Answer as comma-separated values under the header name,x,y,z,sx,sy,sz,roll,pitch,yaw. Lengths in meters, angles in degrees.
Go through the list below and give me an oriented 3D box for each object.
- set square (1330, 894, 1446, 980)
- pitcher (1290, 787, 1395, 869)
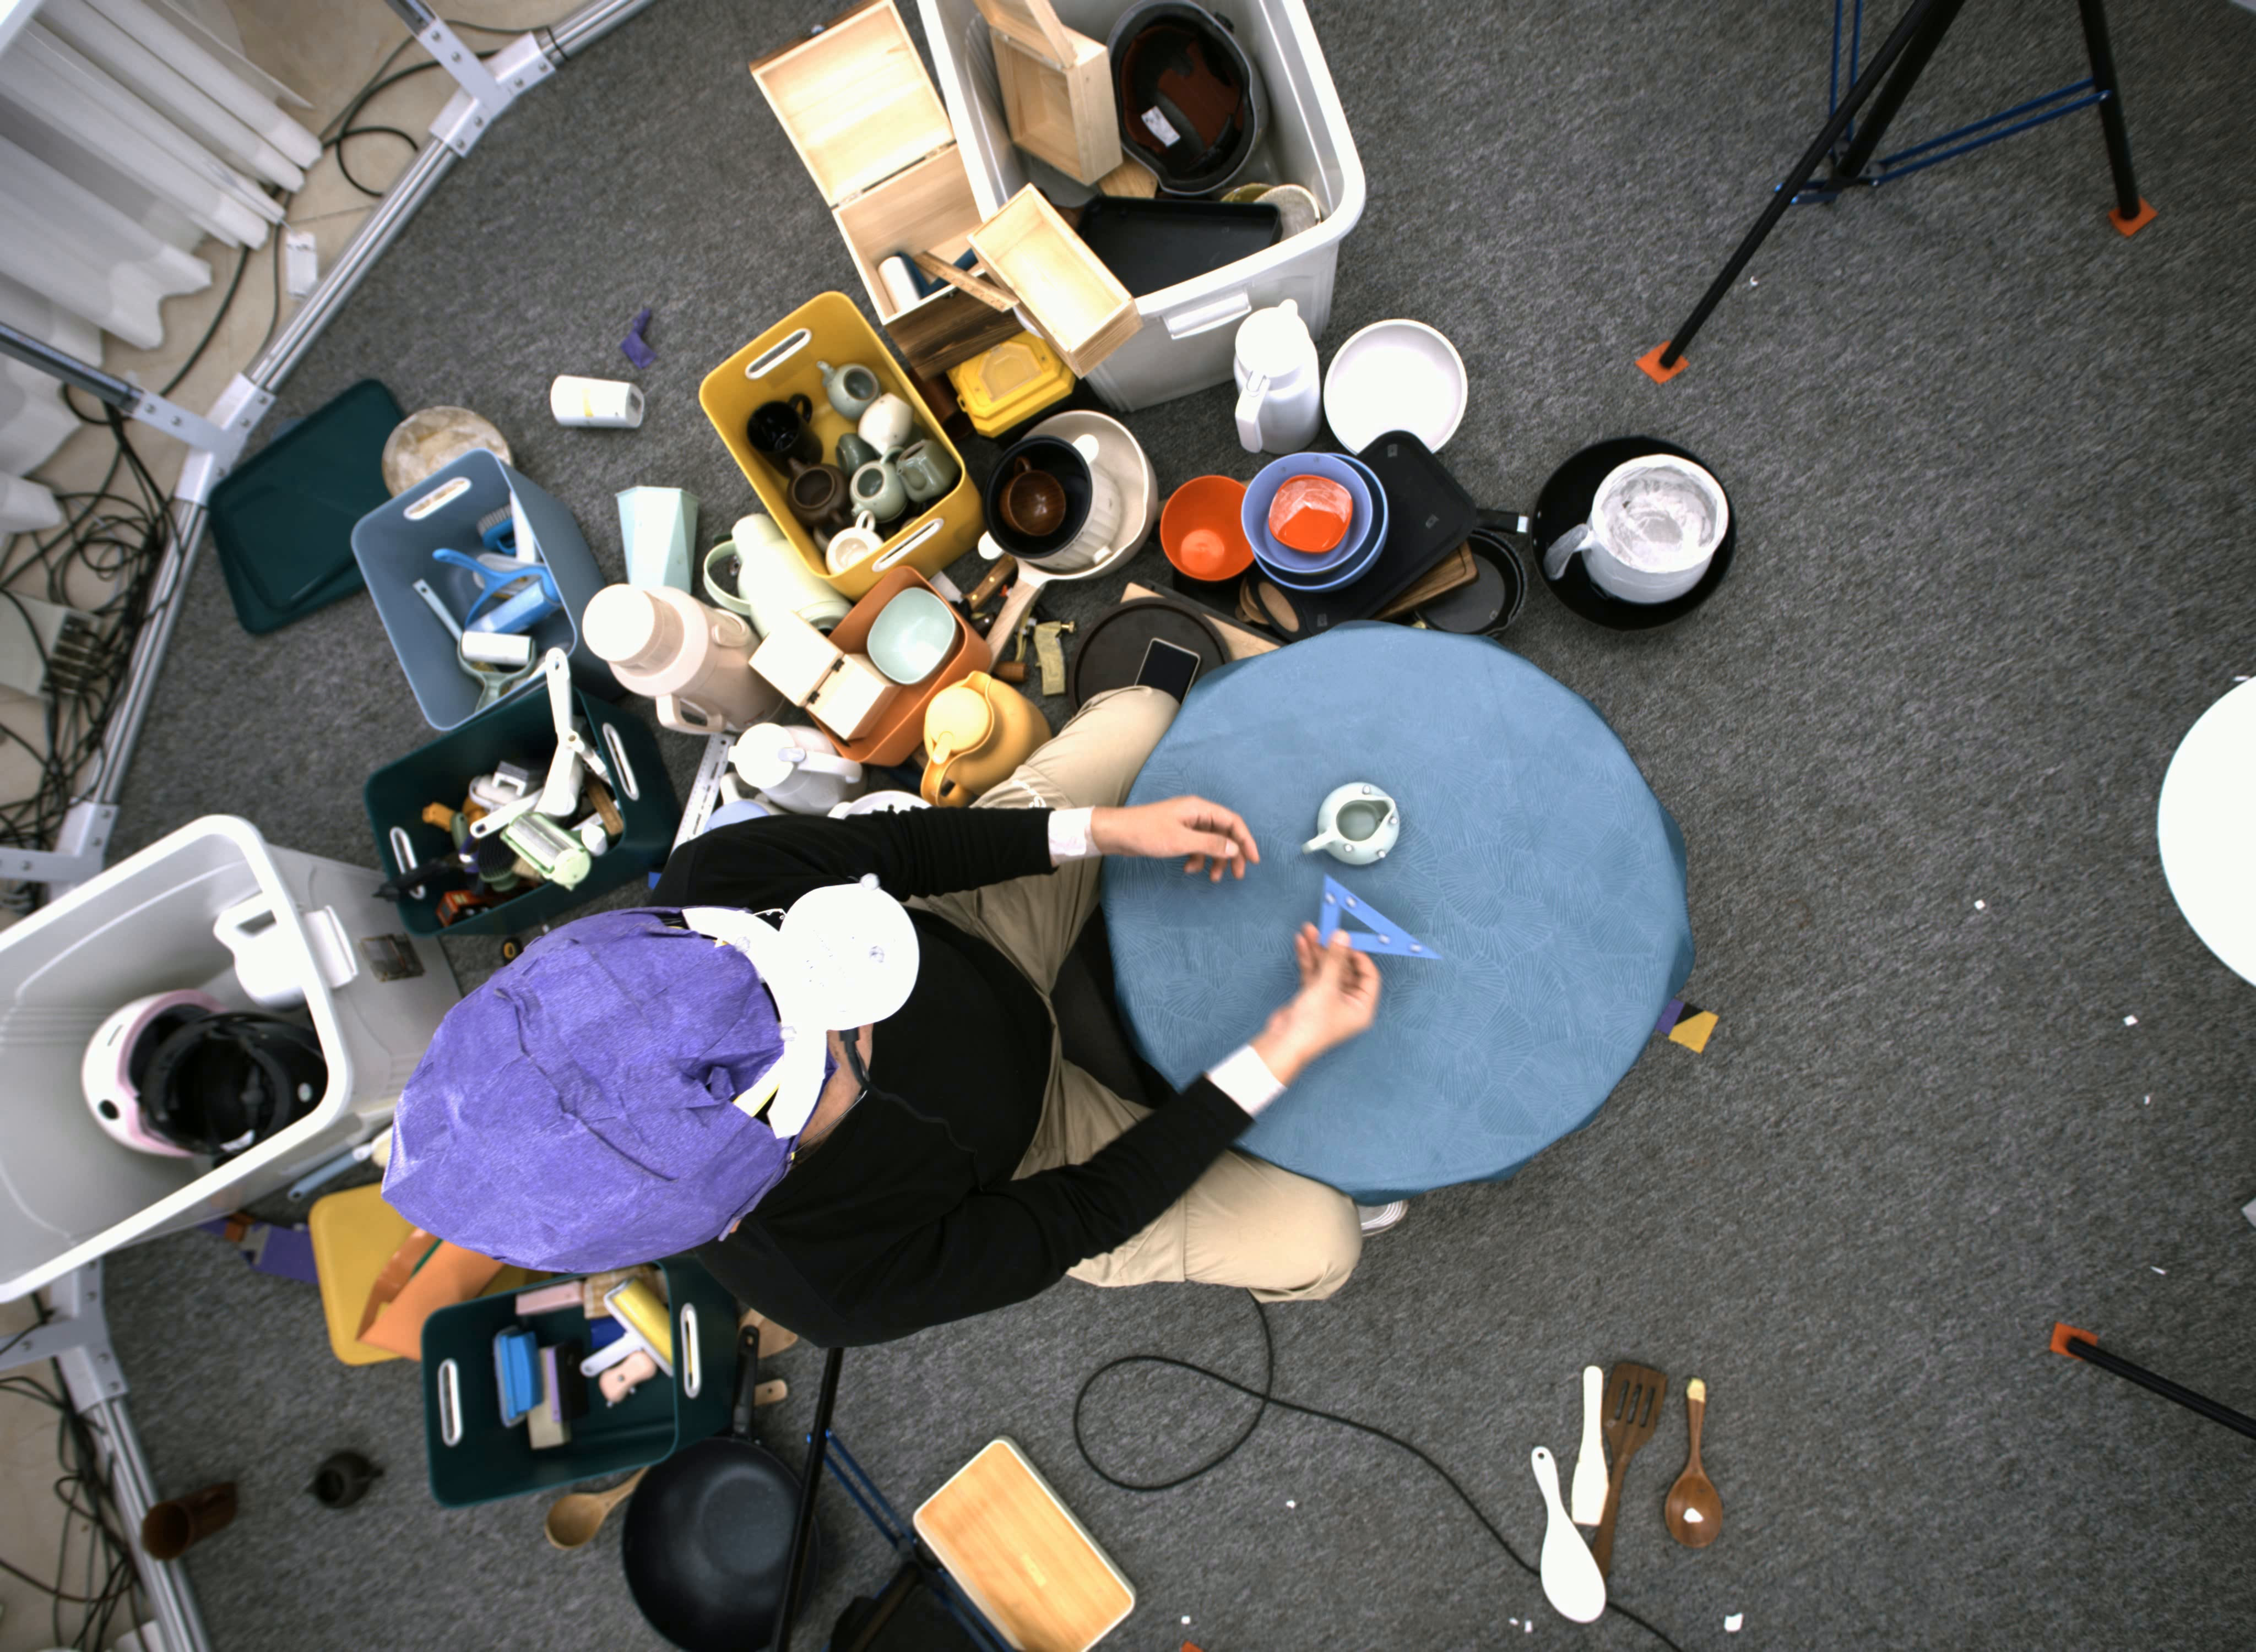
name,x,y,z,sx,sy,sz,roll,pitch,yaw
set square,0.249,0.127,1.379,0.131,0.006,0.061,36,91,9
pitcher,0.219,0.003,1.439,0.108,0.060,0.086,-12,94,-8
